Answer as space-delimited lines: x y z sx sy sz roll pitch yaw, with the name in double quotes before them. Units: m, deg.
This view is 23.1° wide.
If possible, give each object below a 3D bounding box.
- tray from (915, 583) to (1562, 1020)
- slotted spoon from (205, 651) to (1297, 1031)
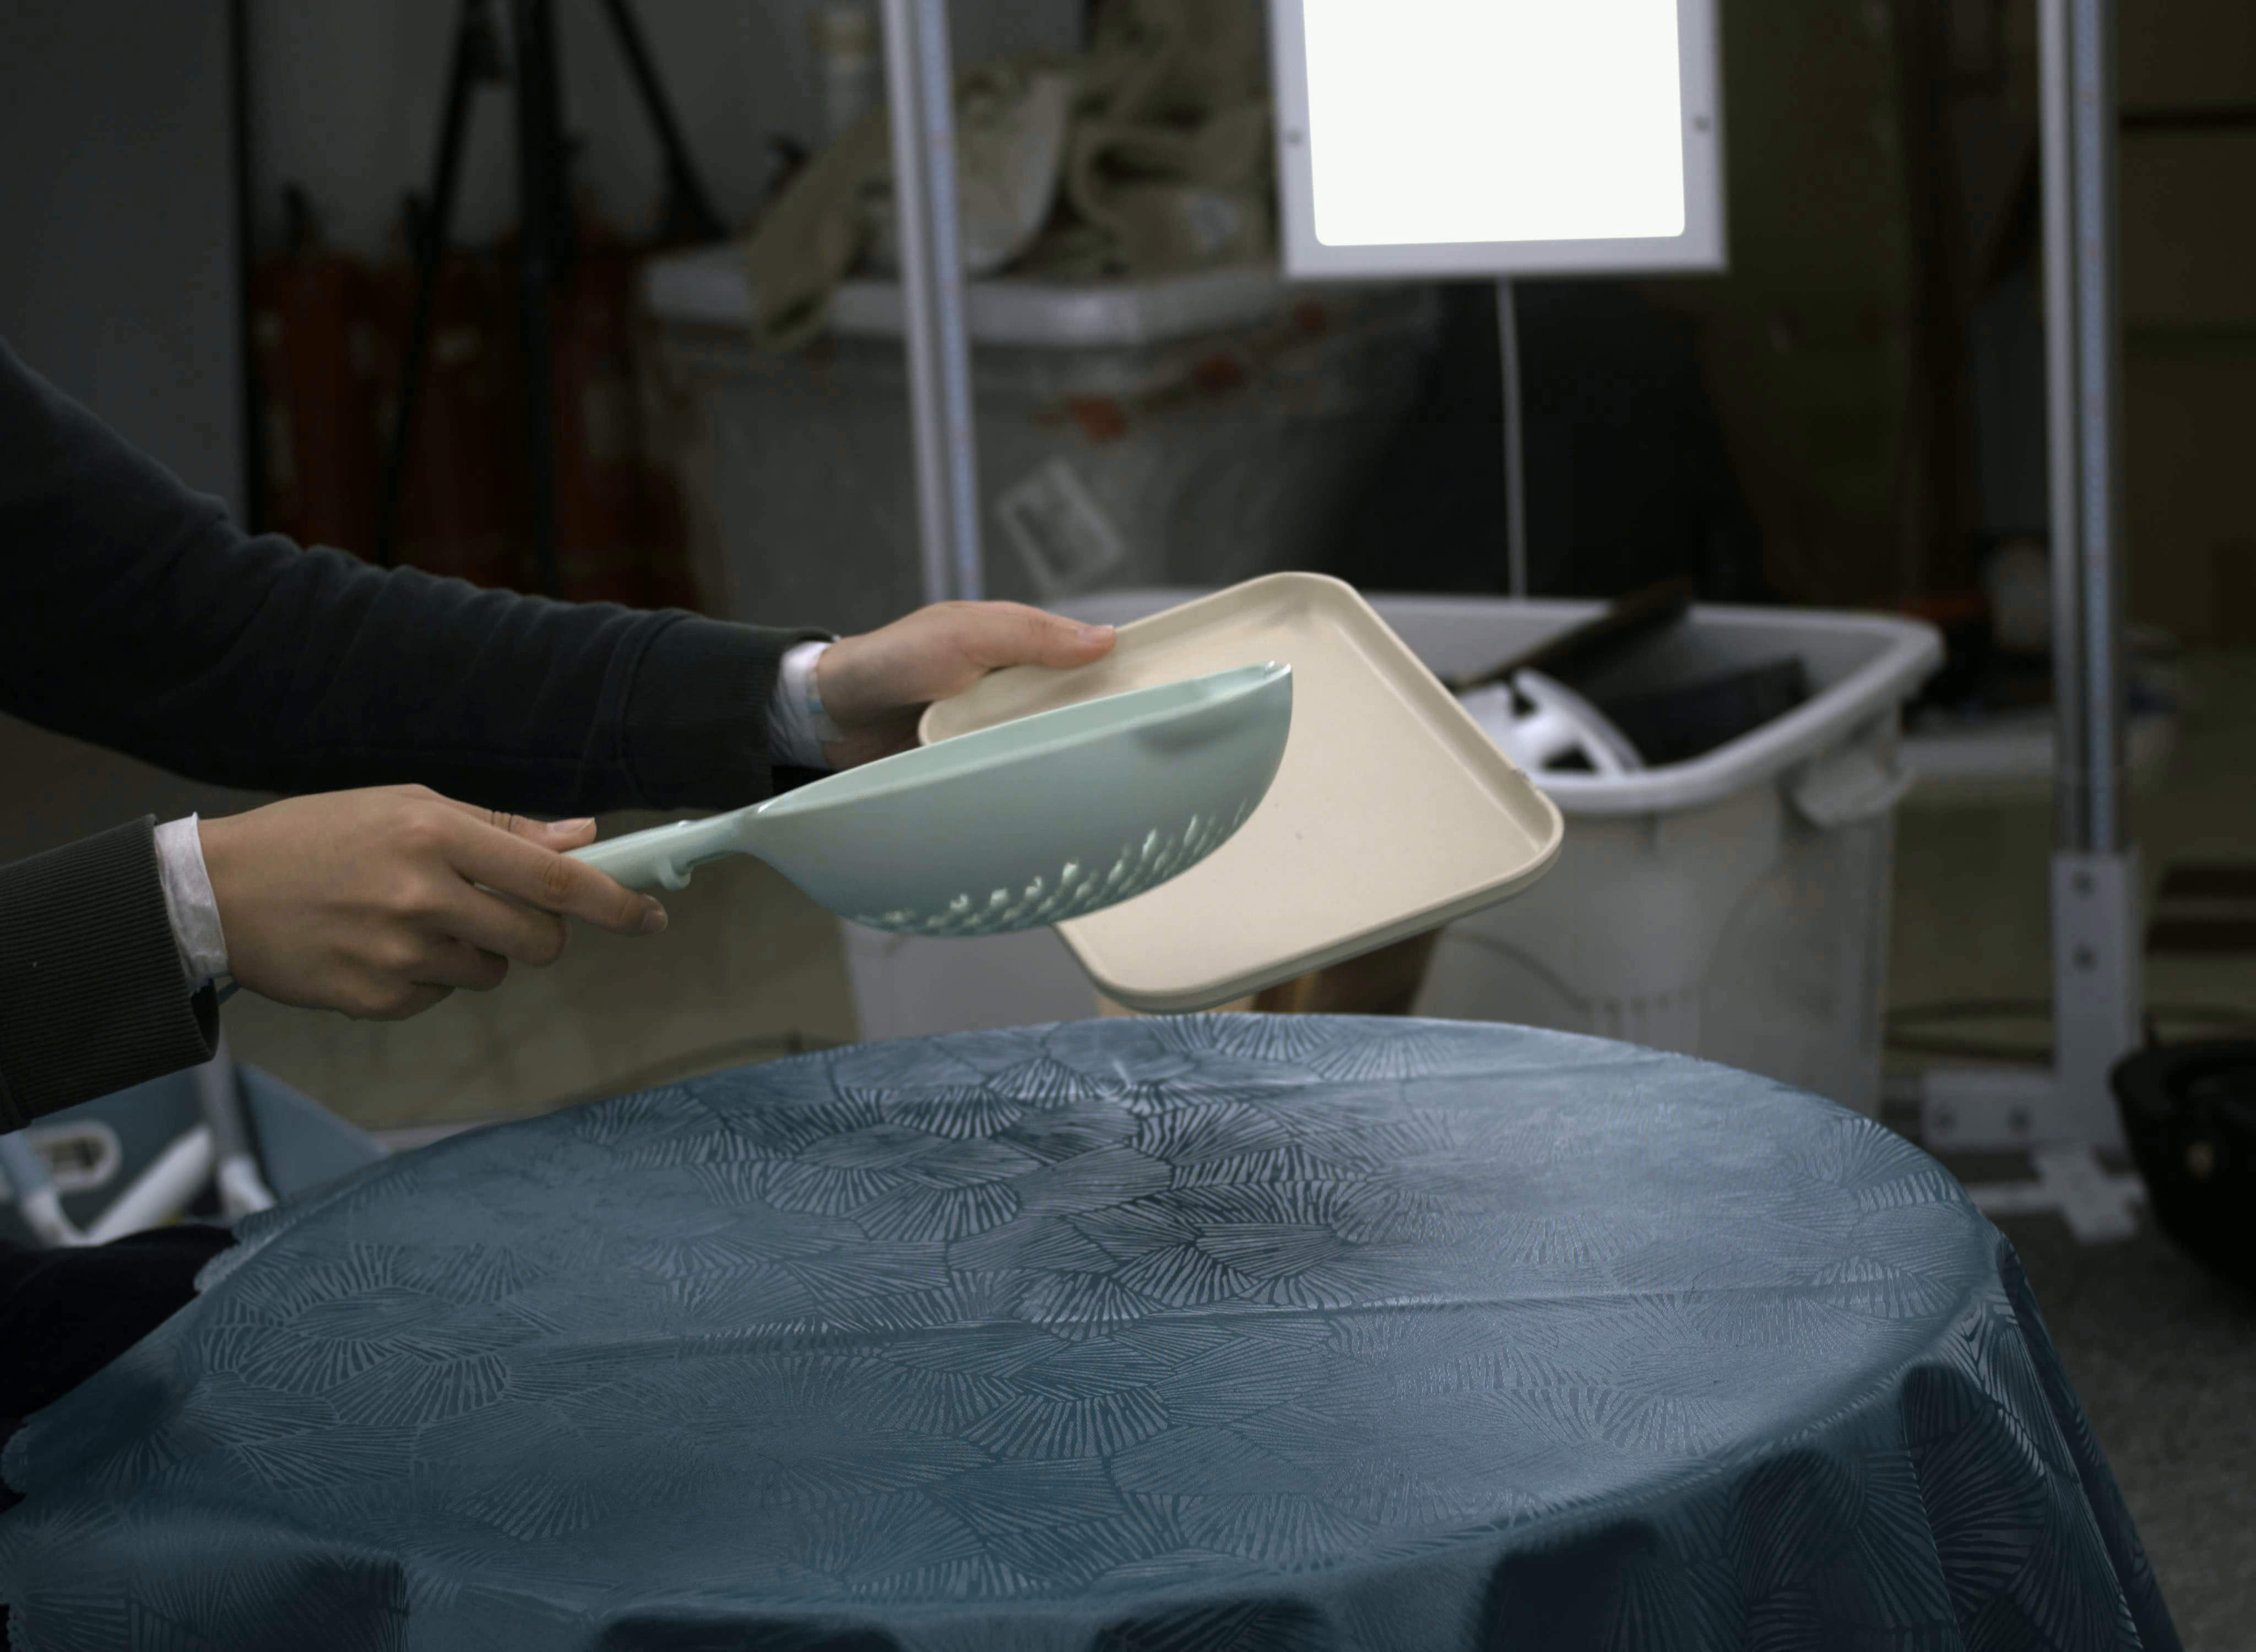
"tray" 0.035 -0.010 1.893 0.169 0.017 0.242 -20 31 -11
"slotted spoon" -0.120 0.007 1.695 0.361 0.075 0.167 -7 4 13
